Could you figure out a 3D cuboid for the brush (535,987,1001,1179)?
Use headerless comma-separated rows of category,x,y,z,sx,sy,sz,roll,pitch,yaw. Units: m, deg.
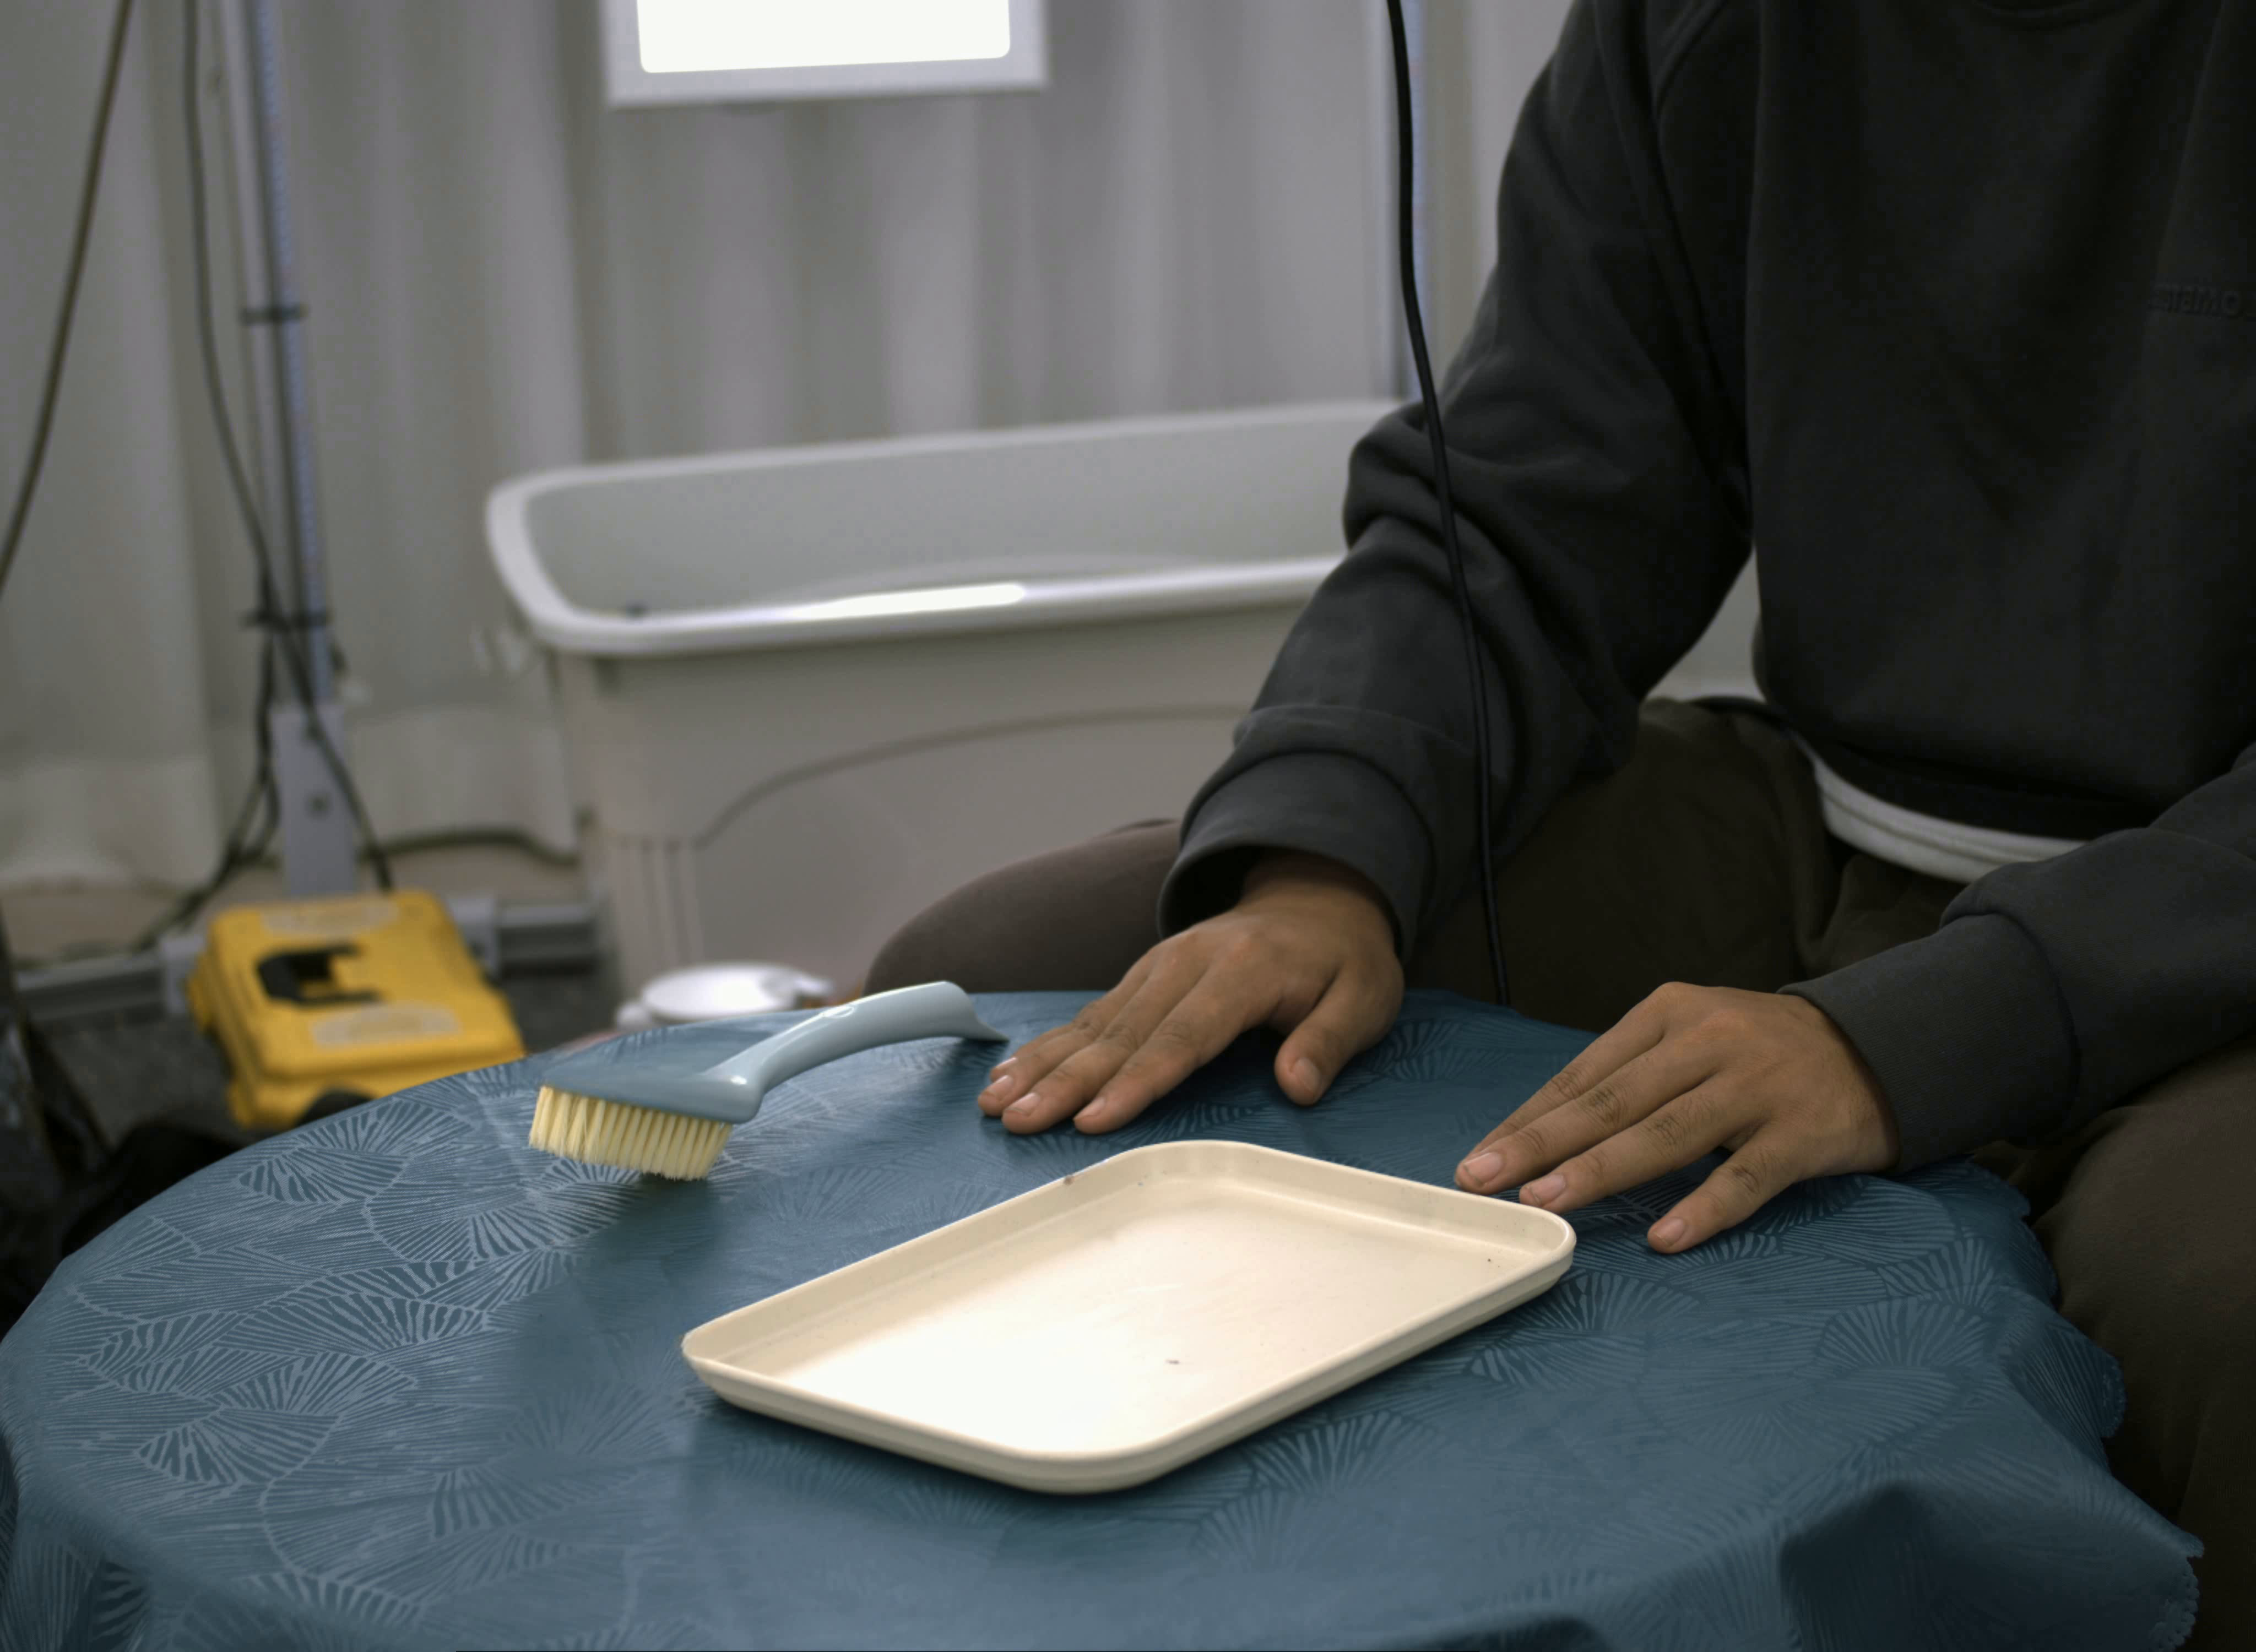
brush,-0.115,0.084,1.791,0.038,0.049,0.228,14,13,32

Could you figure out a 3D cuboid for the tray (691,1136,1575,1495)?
tray,0.004,0.140,1.585,0.172,0.017,0.239,11,20,40
